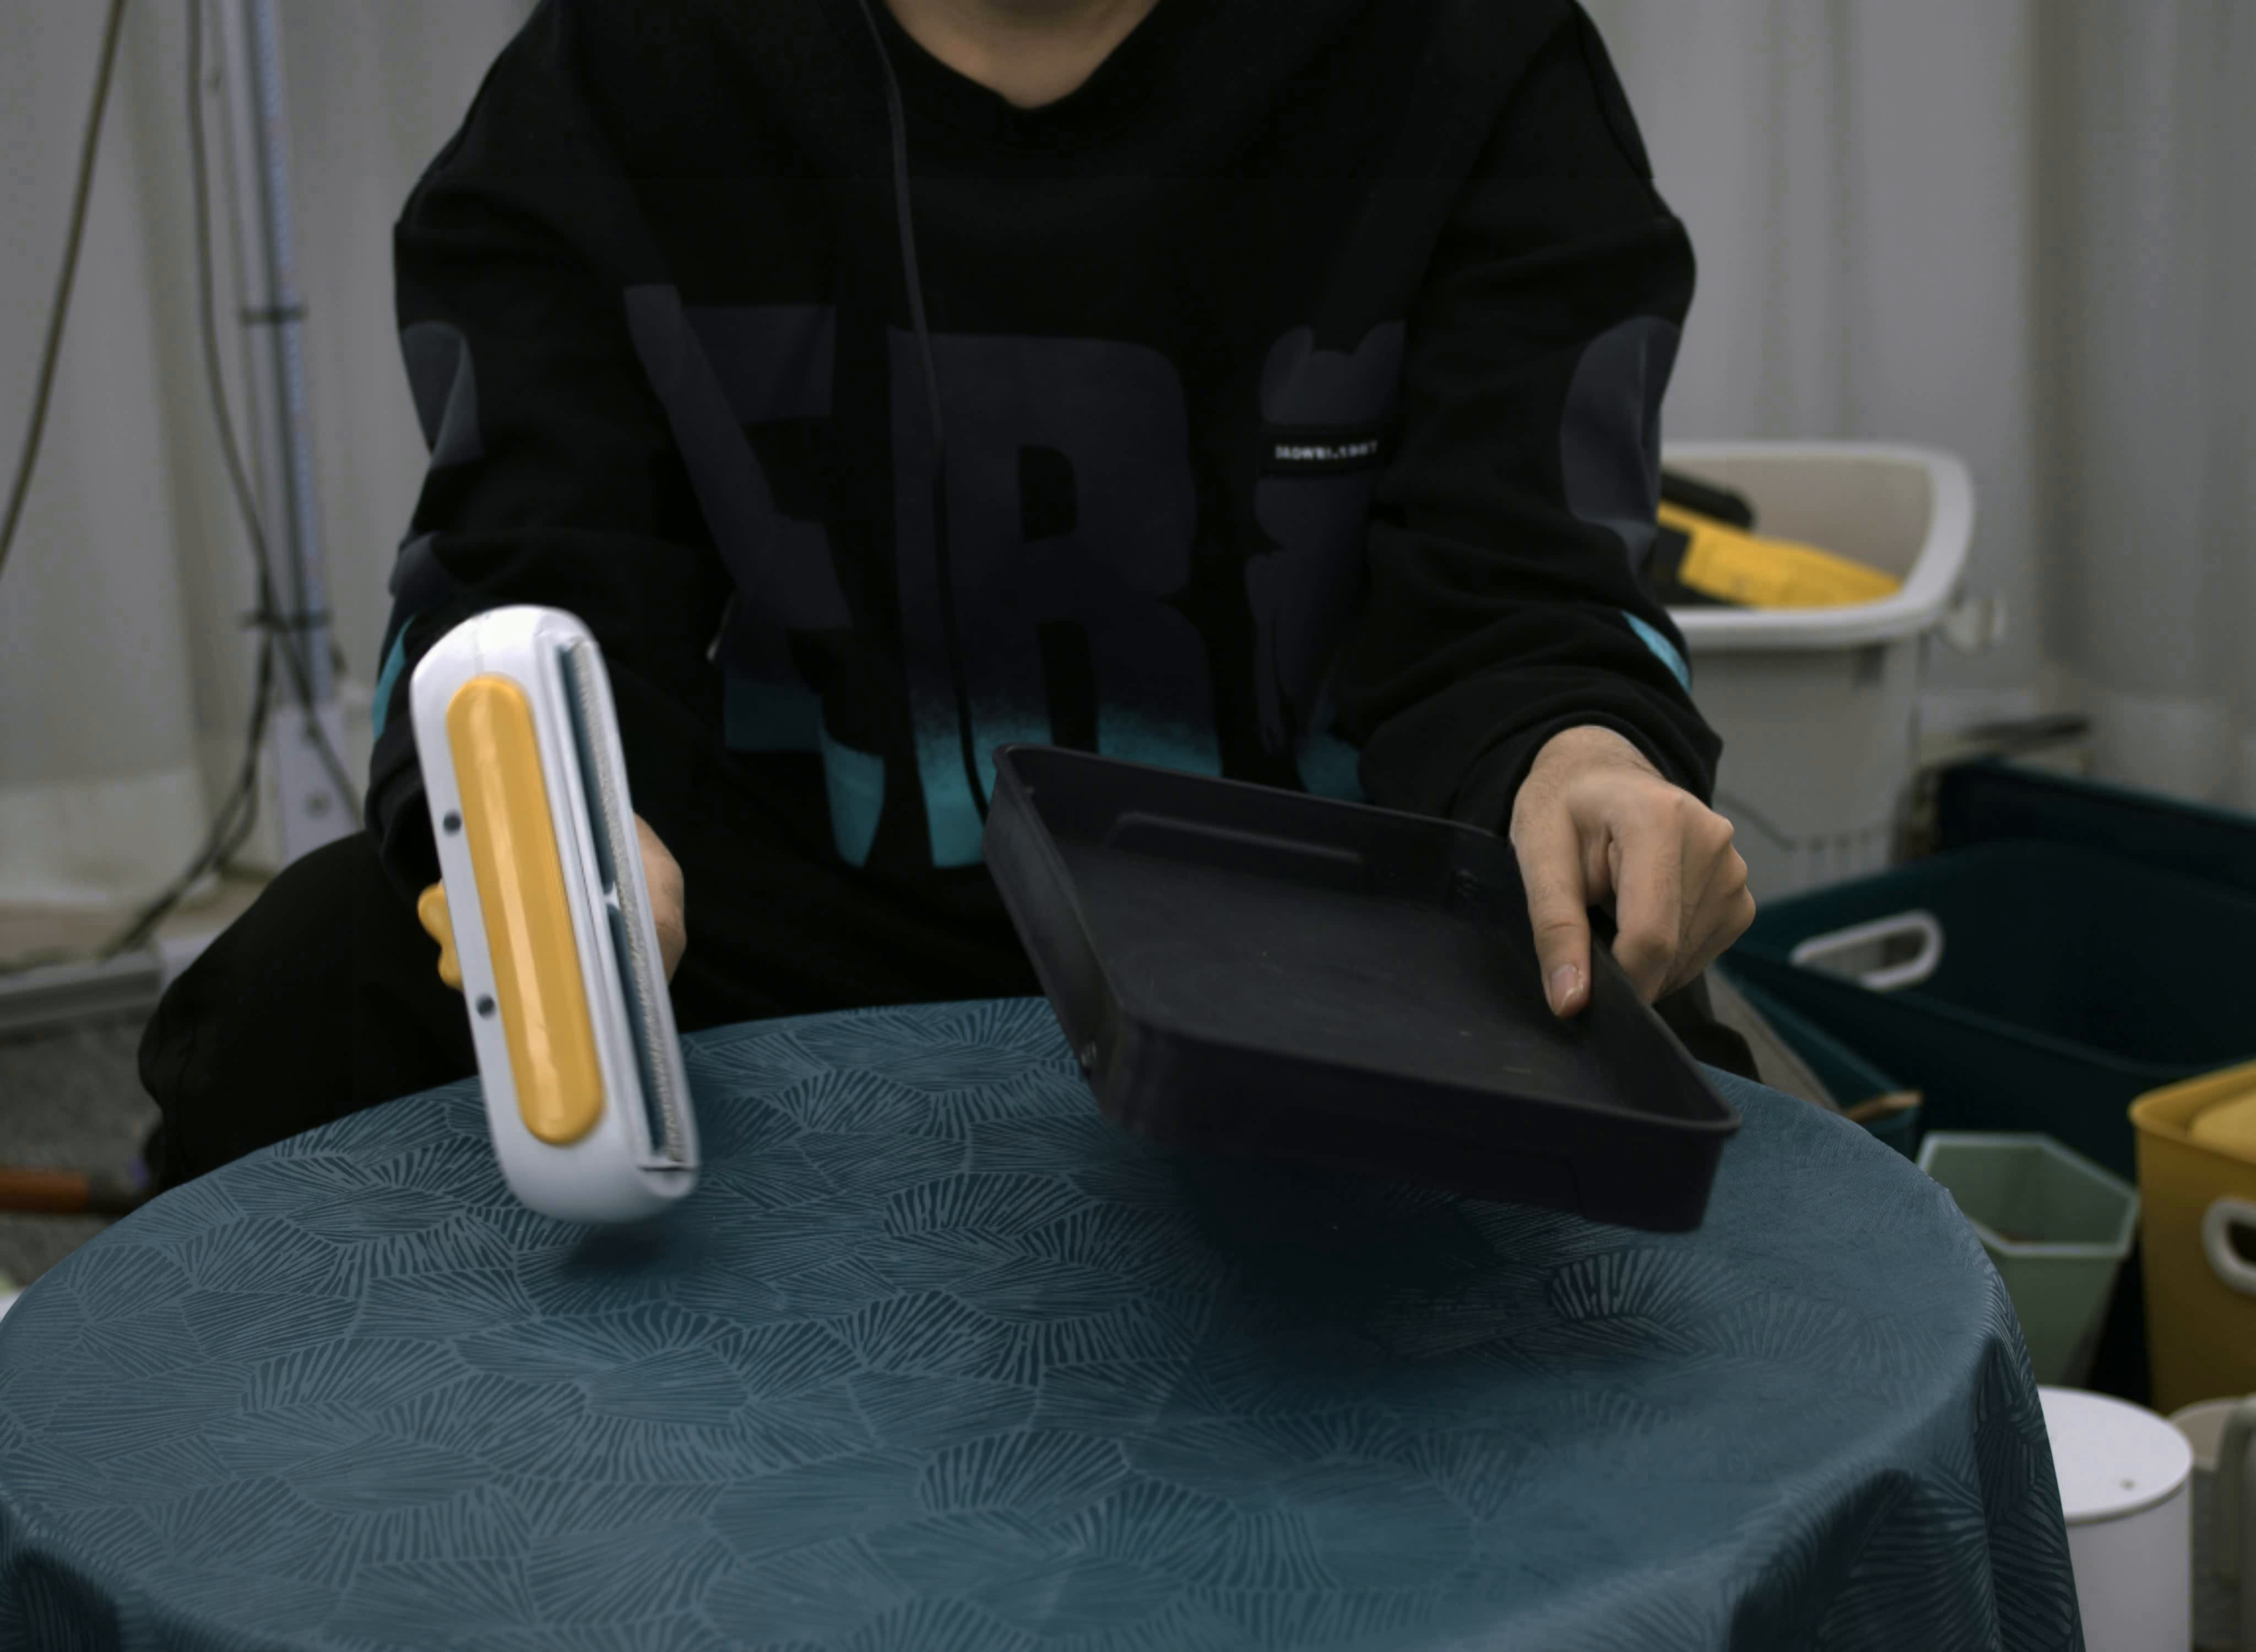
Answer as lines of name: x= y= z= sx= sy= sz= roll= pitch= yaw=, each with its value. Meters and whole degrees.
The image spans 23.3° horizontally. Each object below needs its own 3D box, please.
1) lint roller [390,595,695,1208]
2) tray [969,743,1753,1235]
lint roller: x=-0.175 y=0.034 z=1.742 sx=0.074 sy=0.194 sz=0.191 roll=-19 pitch=-12 yaw=7
tray: x=0.061 y=0.044 z=1.661 sx=0.183 sy=0.037 sz=0.320 roll=10 pitch=14 yaw=-13
